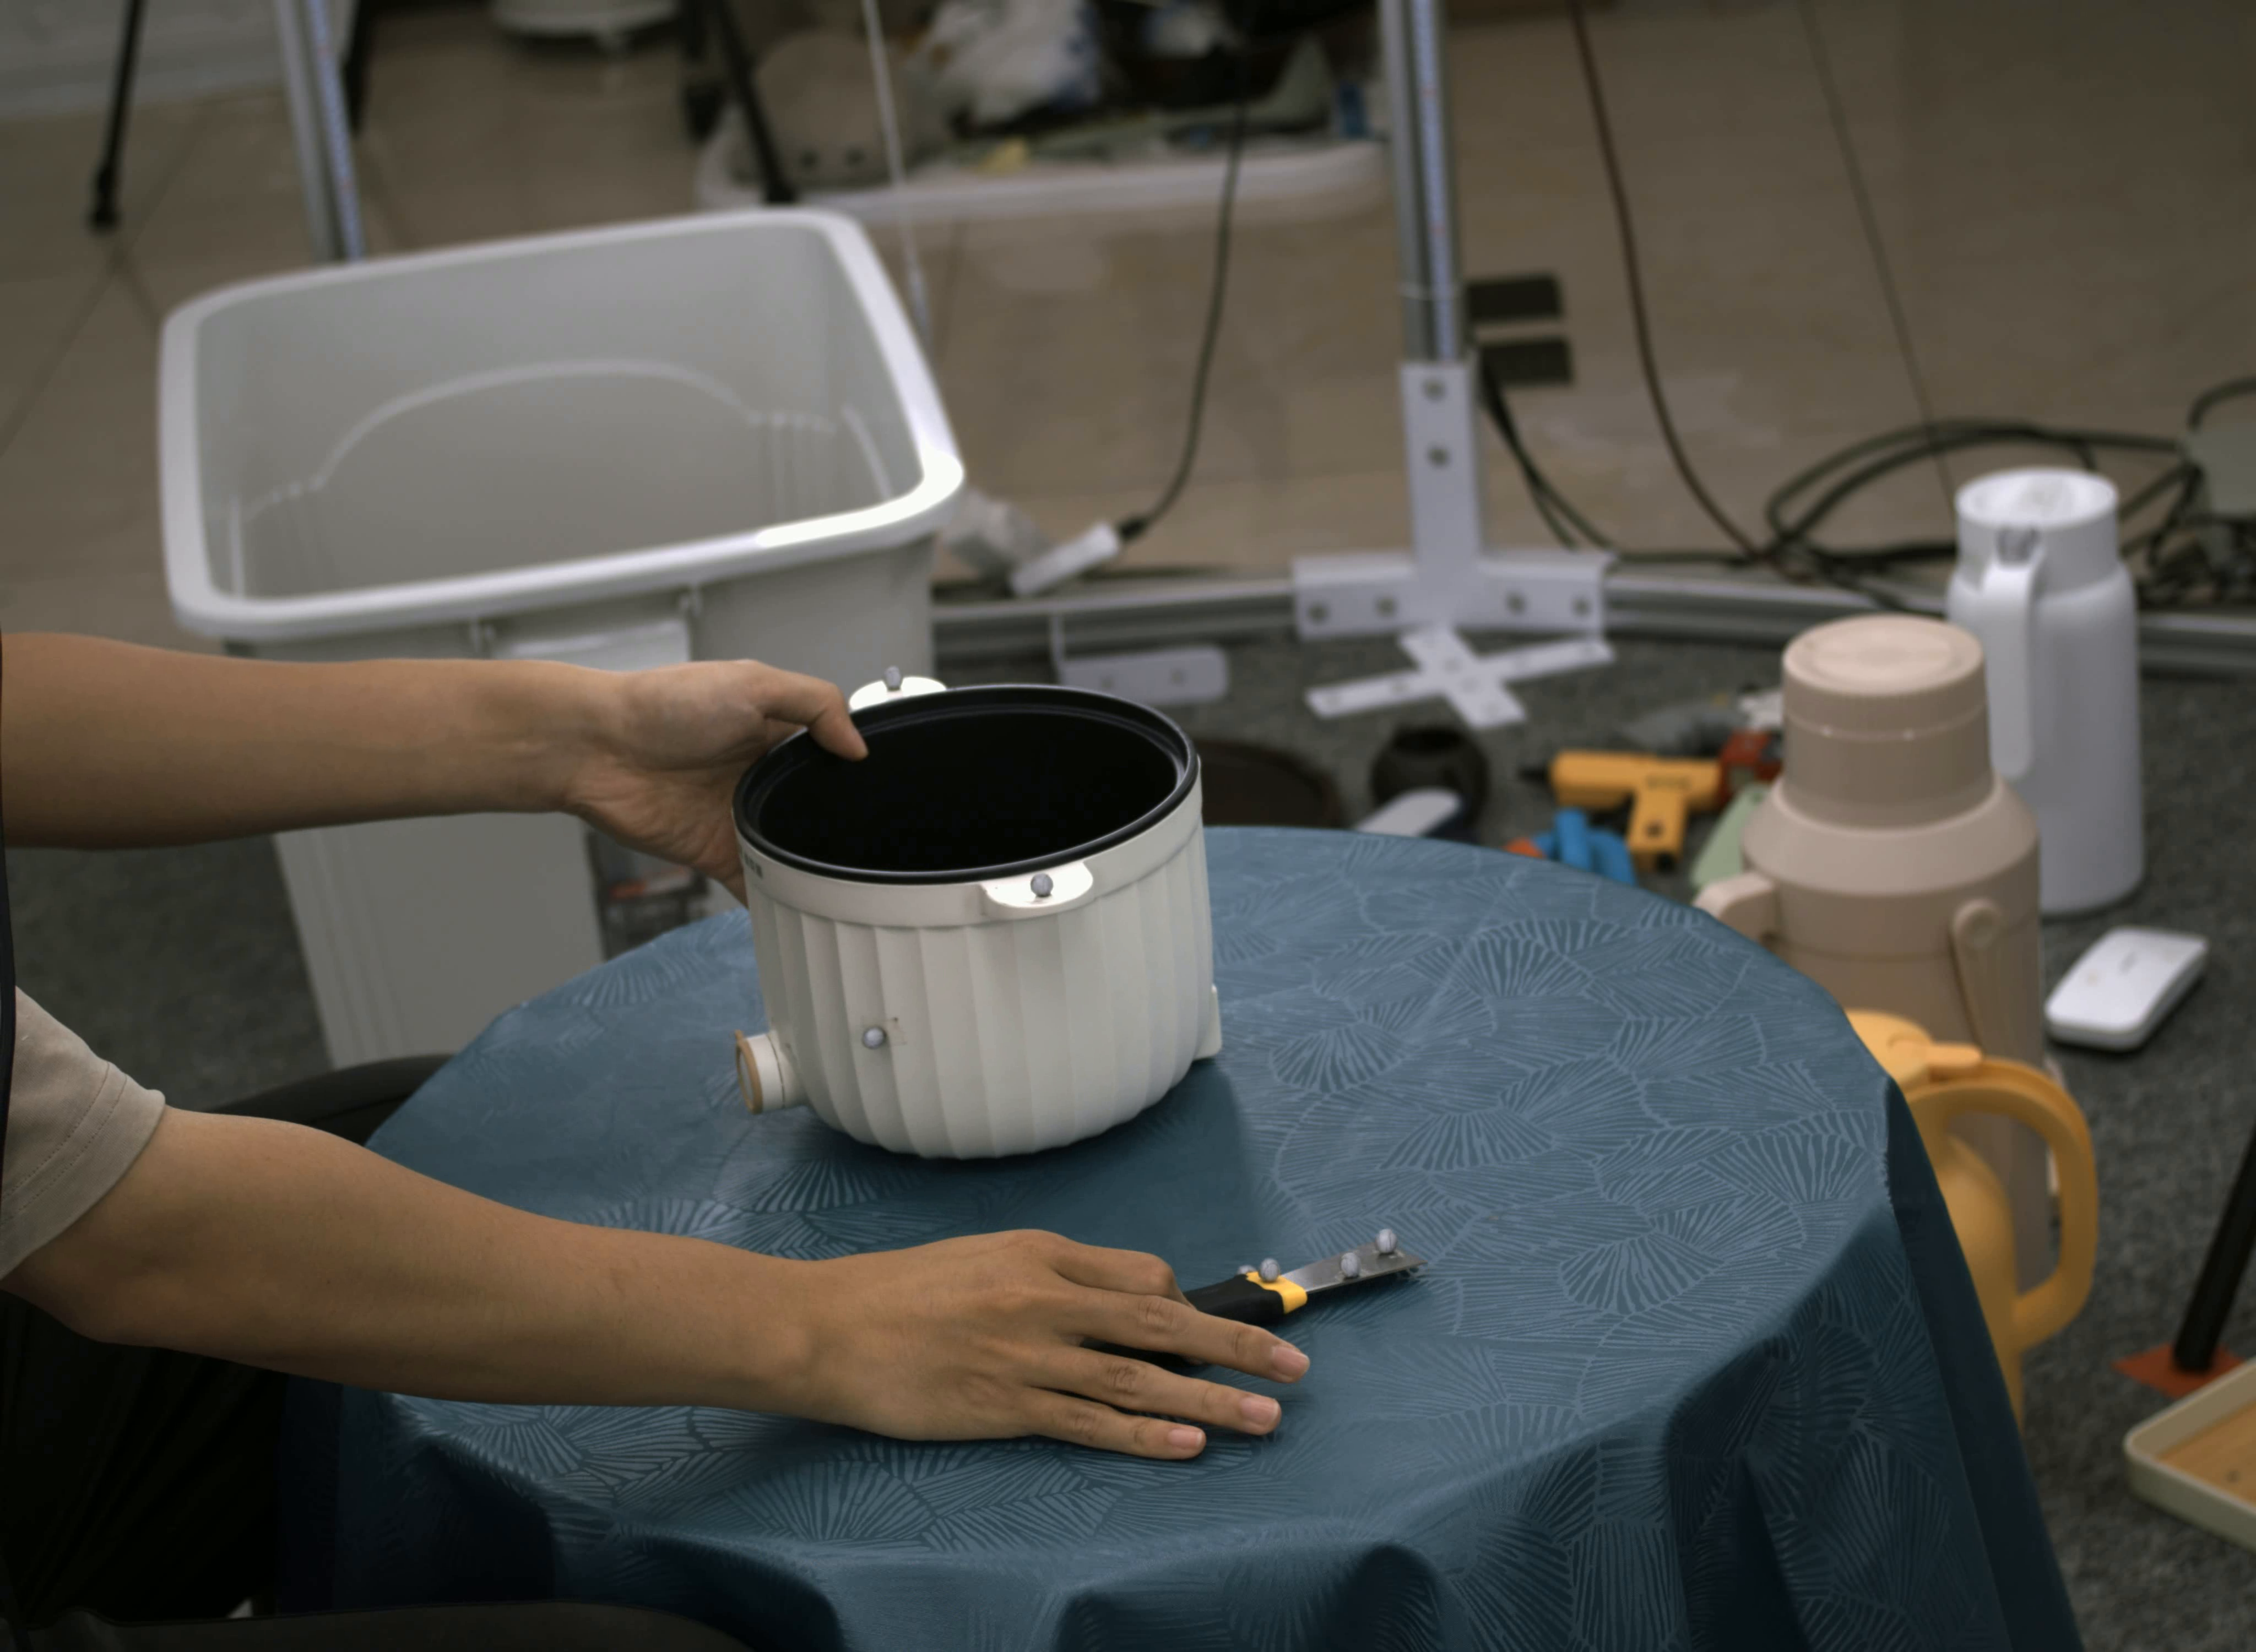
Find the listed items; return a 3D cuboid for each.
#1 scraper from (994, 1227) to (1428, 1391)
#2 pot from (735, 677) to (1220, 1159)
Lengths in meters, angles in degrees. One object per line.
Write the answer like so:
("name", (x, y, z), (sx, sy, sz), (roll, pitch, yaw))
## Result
("scraper", (0.029, 0.174, 2.045), (0.170, 0.015, 0.038), (-15, 21, -25))
("pot", (-0.061, 0.043, 2.208), (0.190, 0.145, 0.237), (-10, 24, -15))
